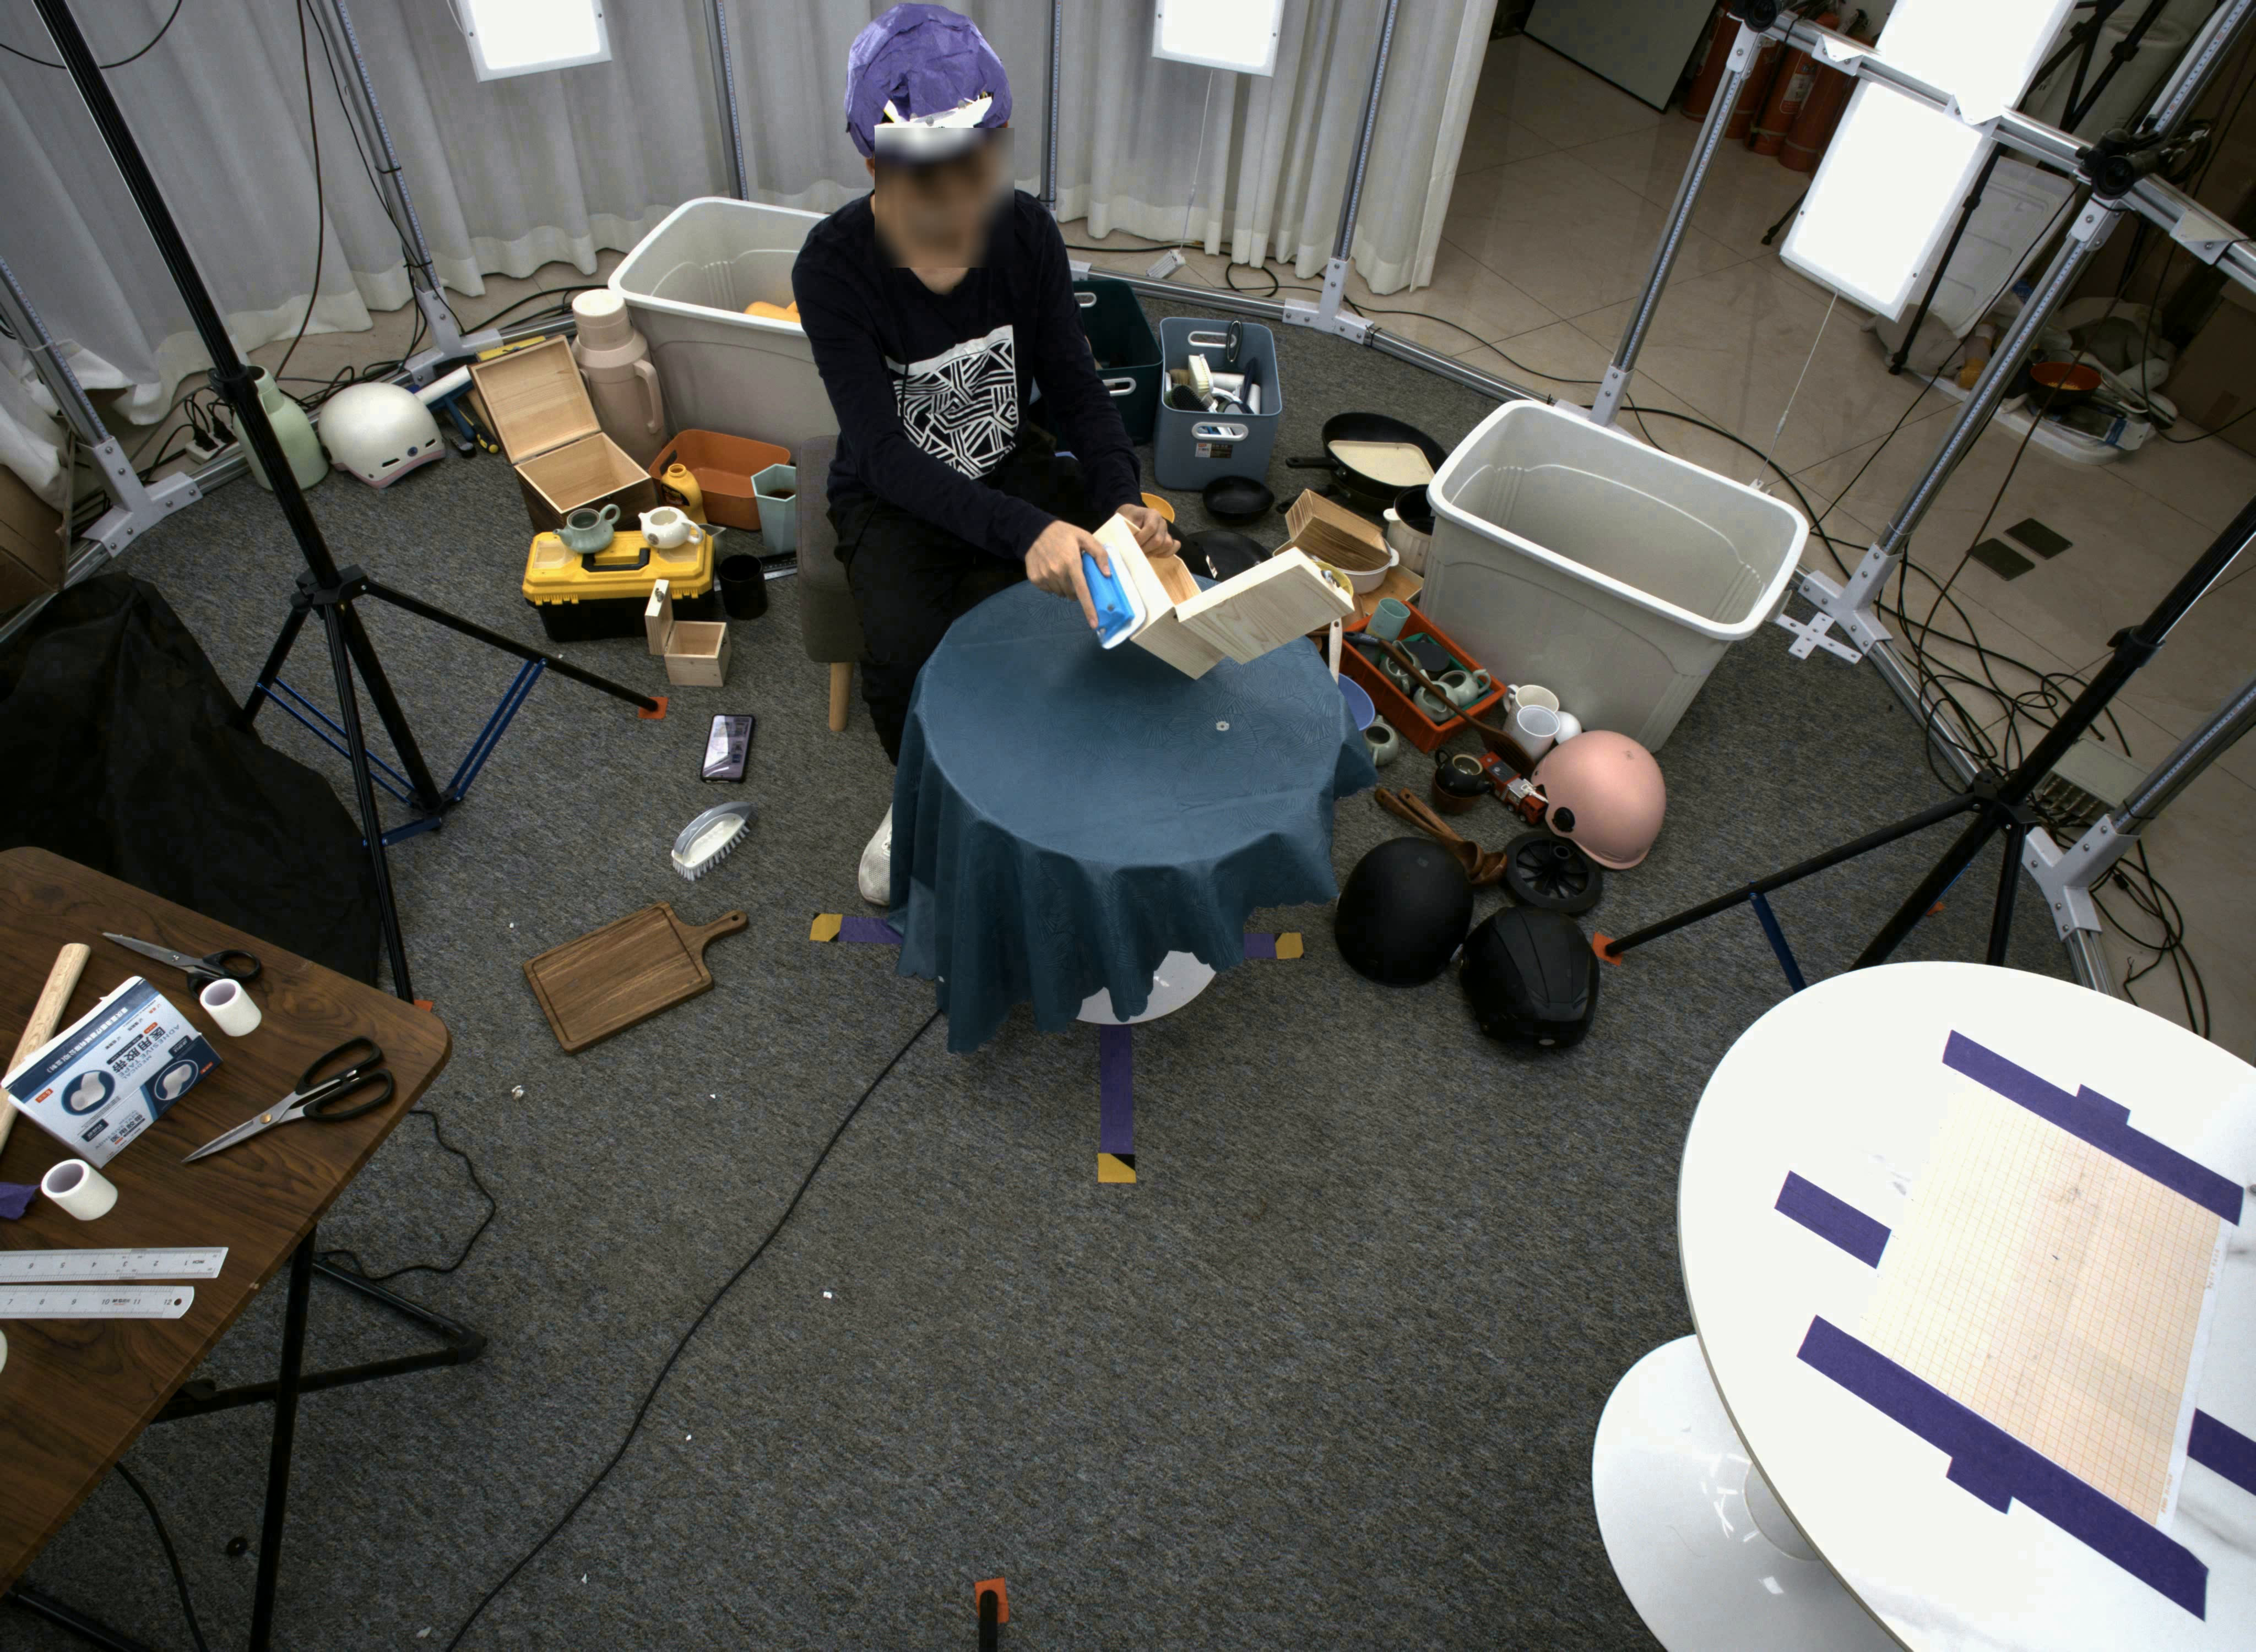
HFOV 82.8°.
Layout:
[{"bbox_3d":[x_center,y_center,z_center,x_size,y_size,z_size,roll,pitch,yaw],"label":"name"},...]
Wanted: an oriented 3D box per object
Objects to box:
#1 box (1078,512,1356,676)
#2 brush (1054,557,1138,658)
[{"bbox_3d":[0.120,-0.350,1.771,0.251,0.179,0.270,-39,60,20],"label":"box"},{"bbox_3d":[-0.050,-0.300,1.739,0.083,0.055,0.147,-40,61,15],"label":"brush"}]
